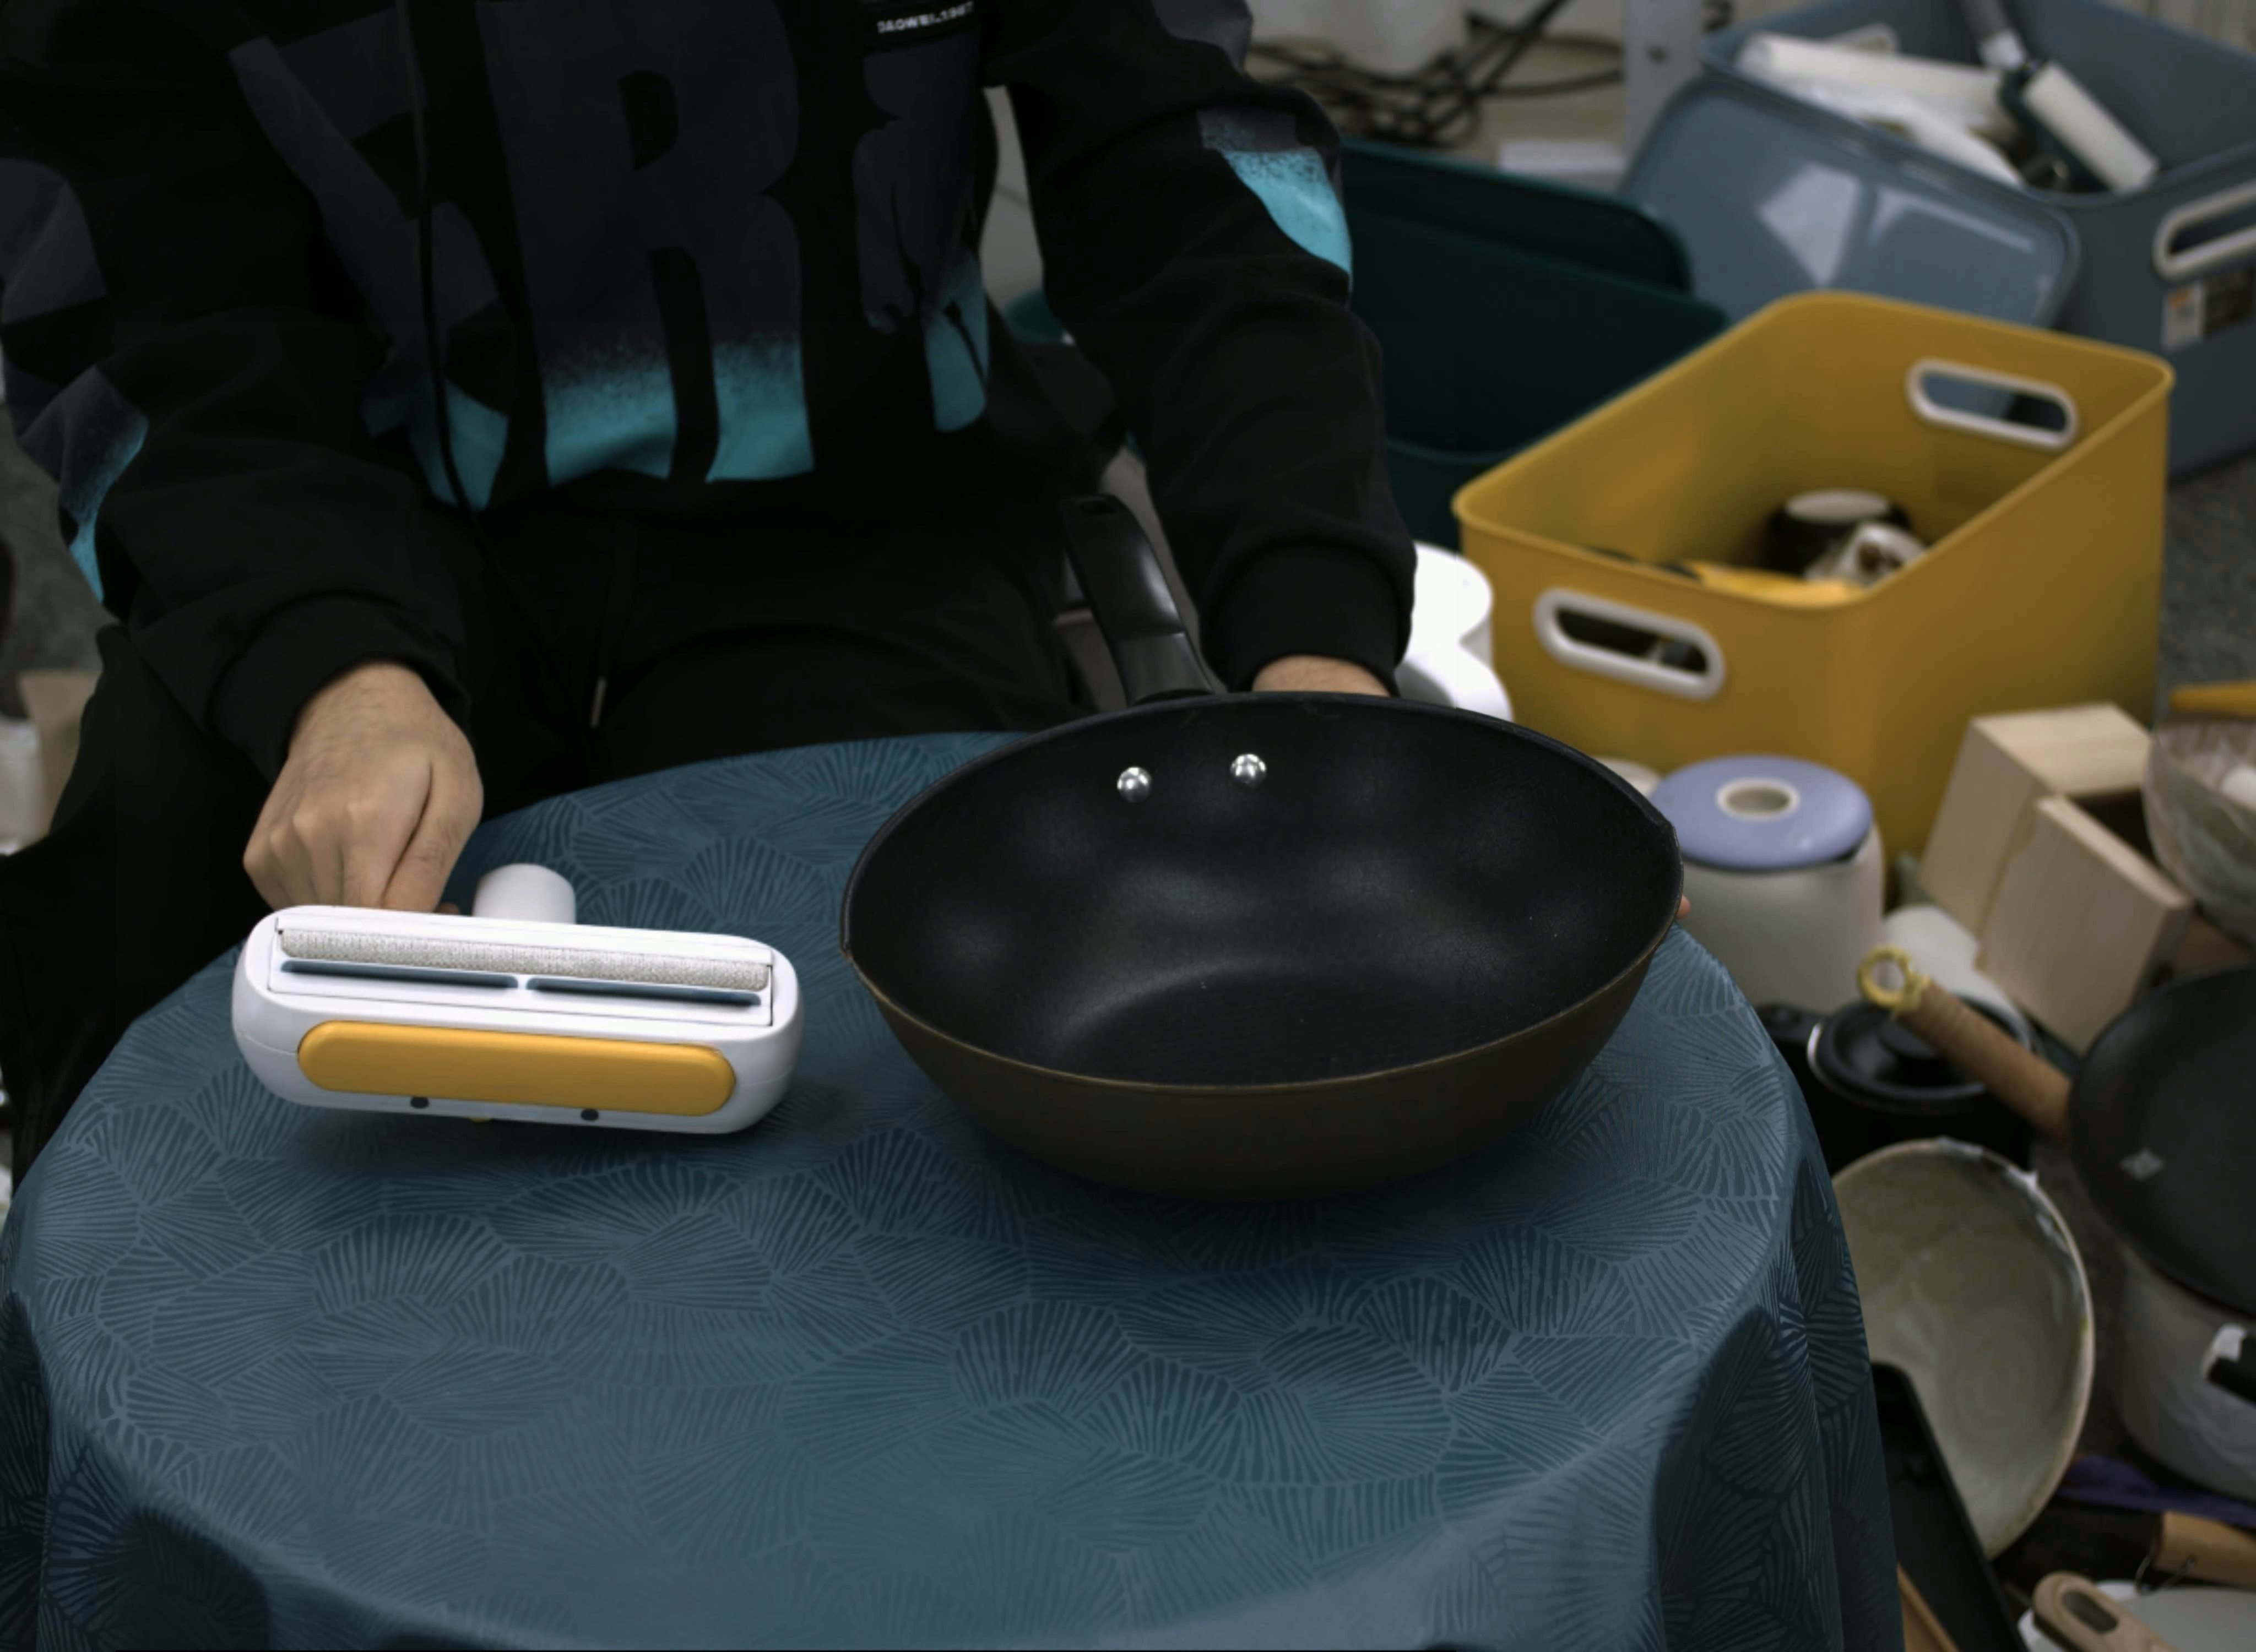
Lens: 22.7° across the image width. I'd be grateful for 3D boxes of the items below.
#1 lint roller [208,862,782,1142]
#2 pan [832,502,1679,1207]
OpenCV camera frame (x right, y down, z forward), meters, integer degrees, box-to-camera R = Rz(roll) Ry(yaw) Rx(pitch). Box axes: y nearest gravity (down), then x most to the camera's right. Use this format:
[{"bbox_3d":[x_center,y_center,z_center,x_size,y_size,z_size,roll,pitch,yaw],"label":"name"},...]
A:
[{"bbox_3d":[-0.214,0.047,1.953,0.192,0.073,0.195,2,26,-2],"label":"lint roller"},{"bbox_3d":[0.028,0.011,1.980,0.287,0.086,0.469,-7,27,-8],"label":"pan"}]
